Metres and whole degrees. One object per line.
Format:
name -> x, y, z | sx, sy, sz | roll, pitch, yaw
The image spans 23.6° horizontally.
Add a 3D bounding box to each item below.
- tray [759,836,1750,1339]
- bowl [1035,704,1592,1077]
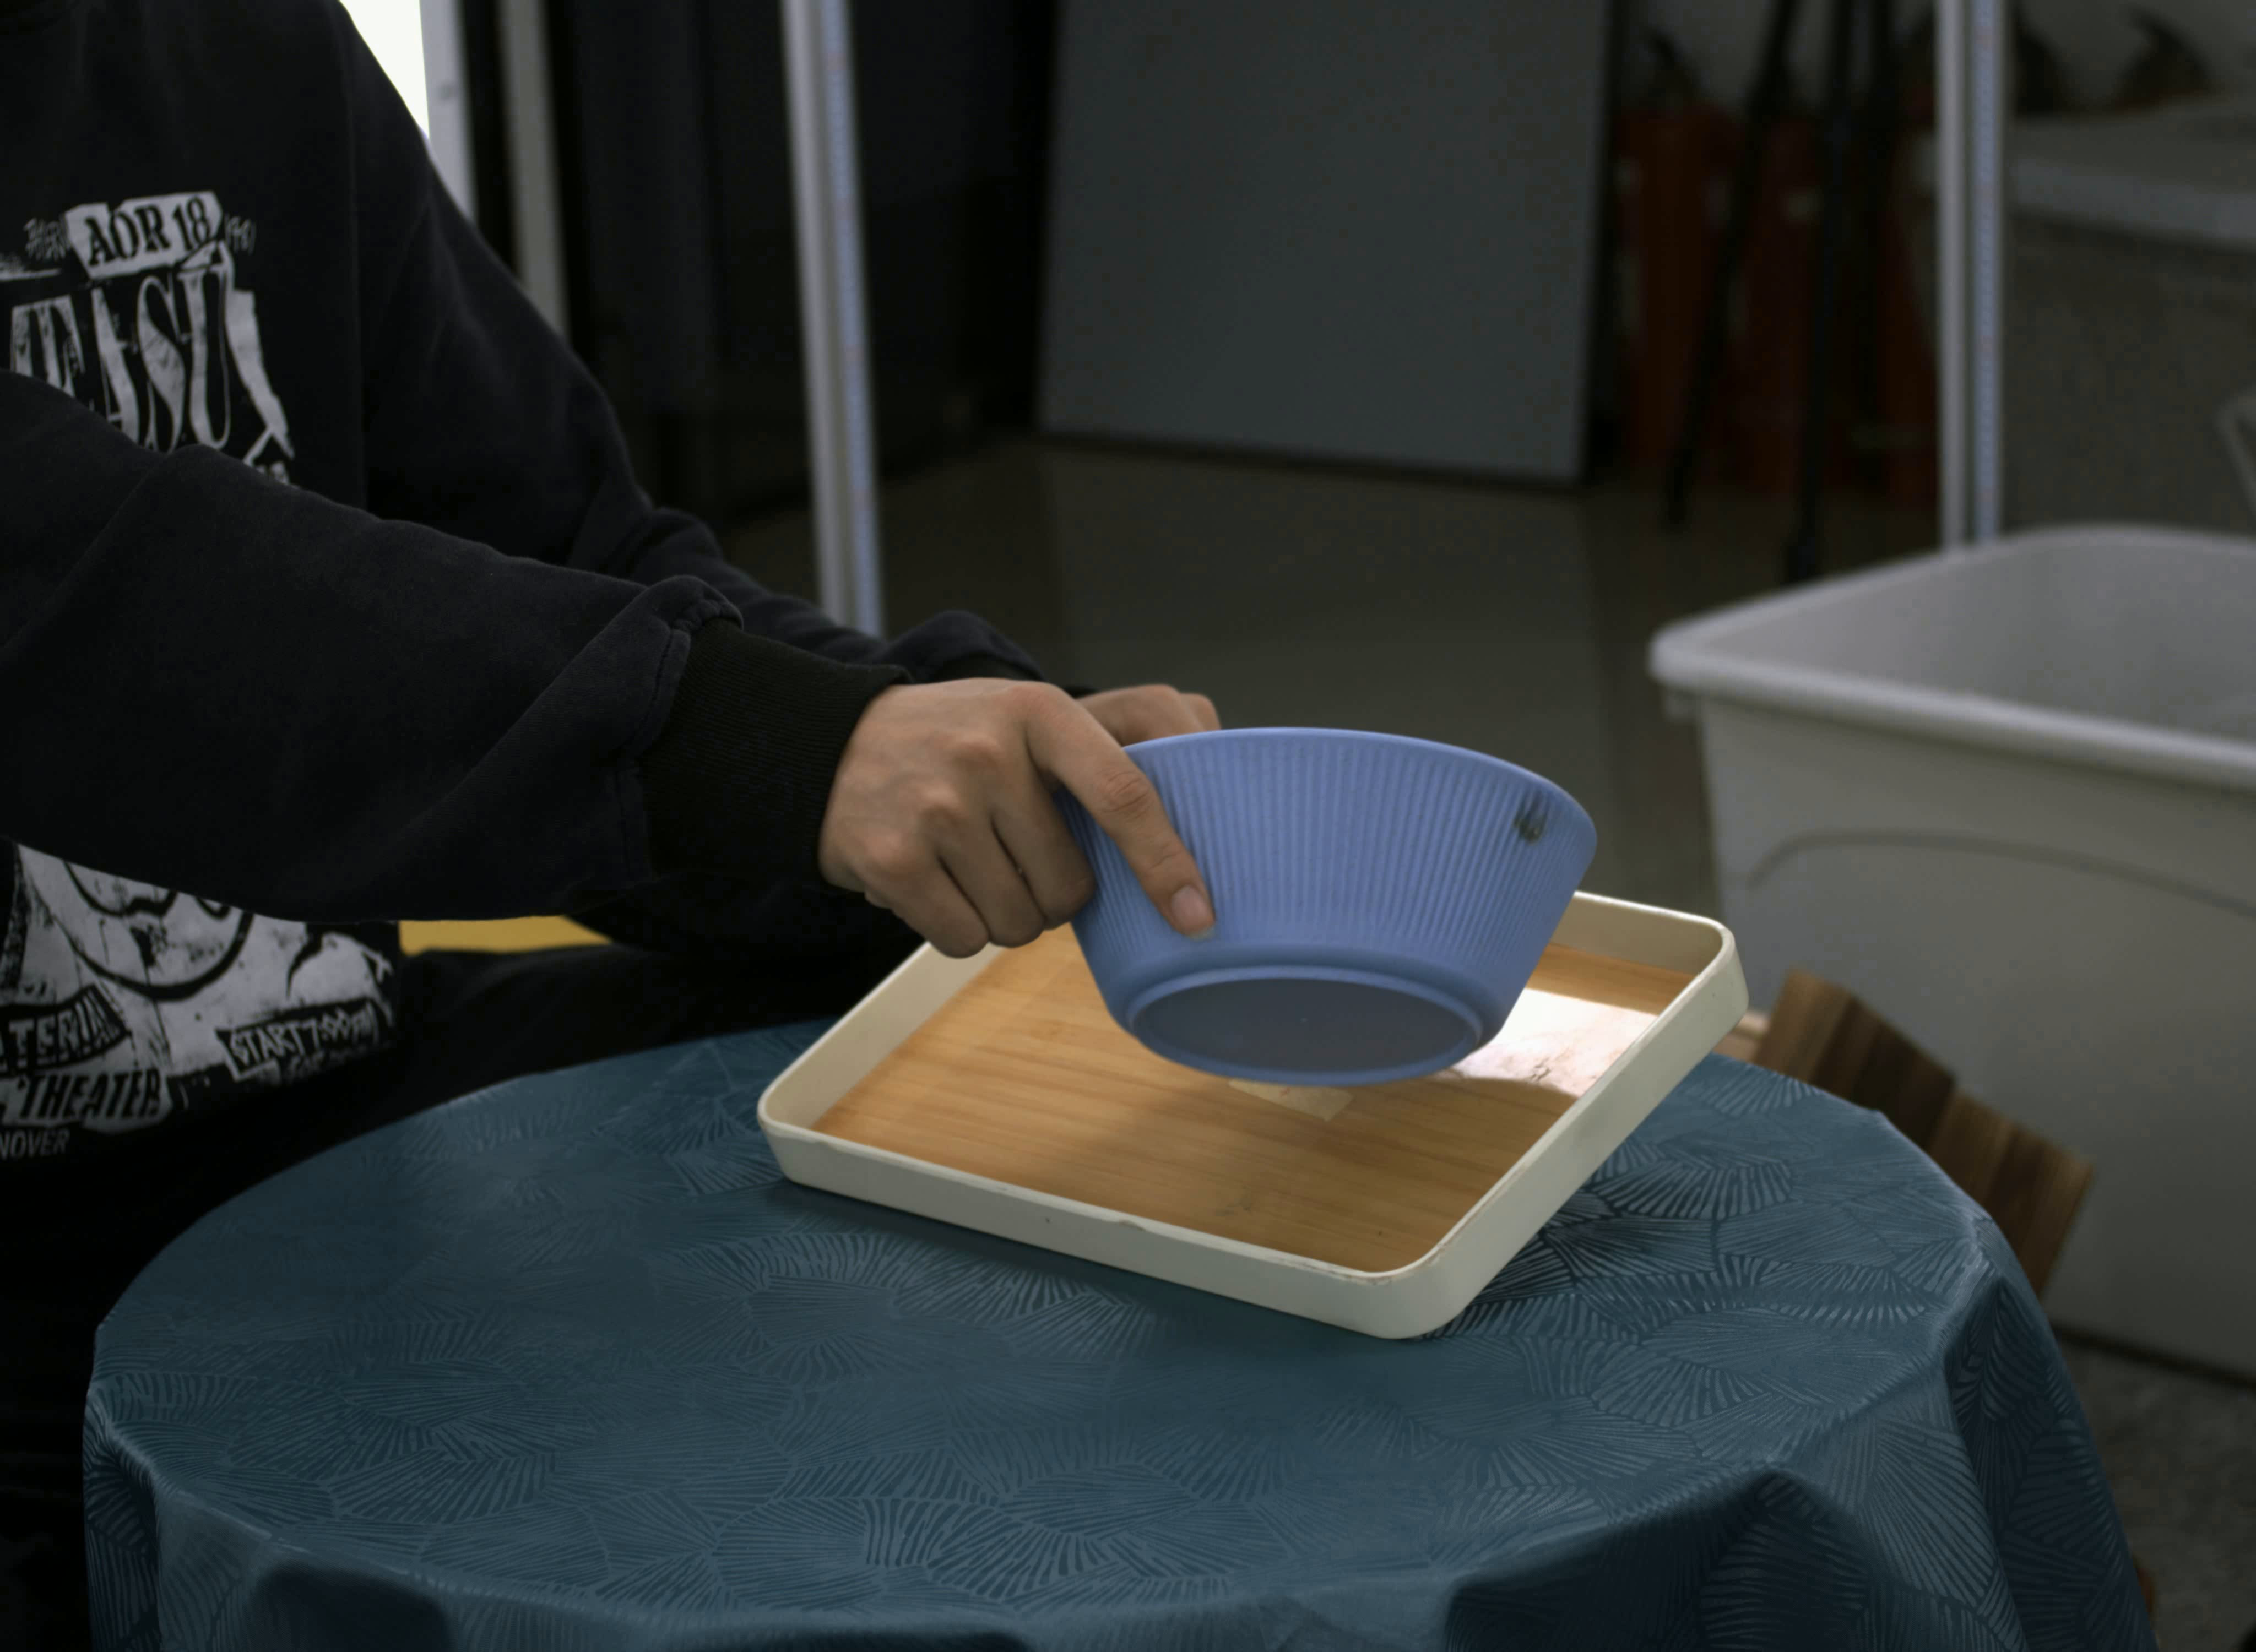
tray -> 0.037, 0.075, 1.751 | 0.303, 0.027, 0.189 | 10, 42, 44
bowl -> 0.056, 0.027, 1.654 | 0.174, 0.071, 0.176 | 3, -21, 0
